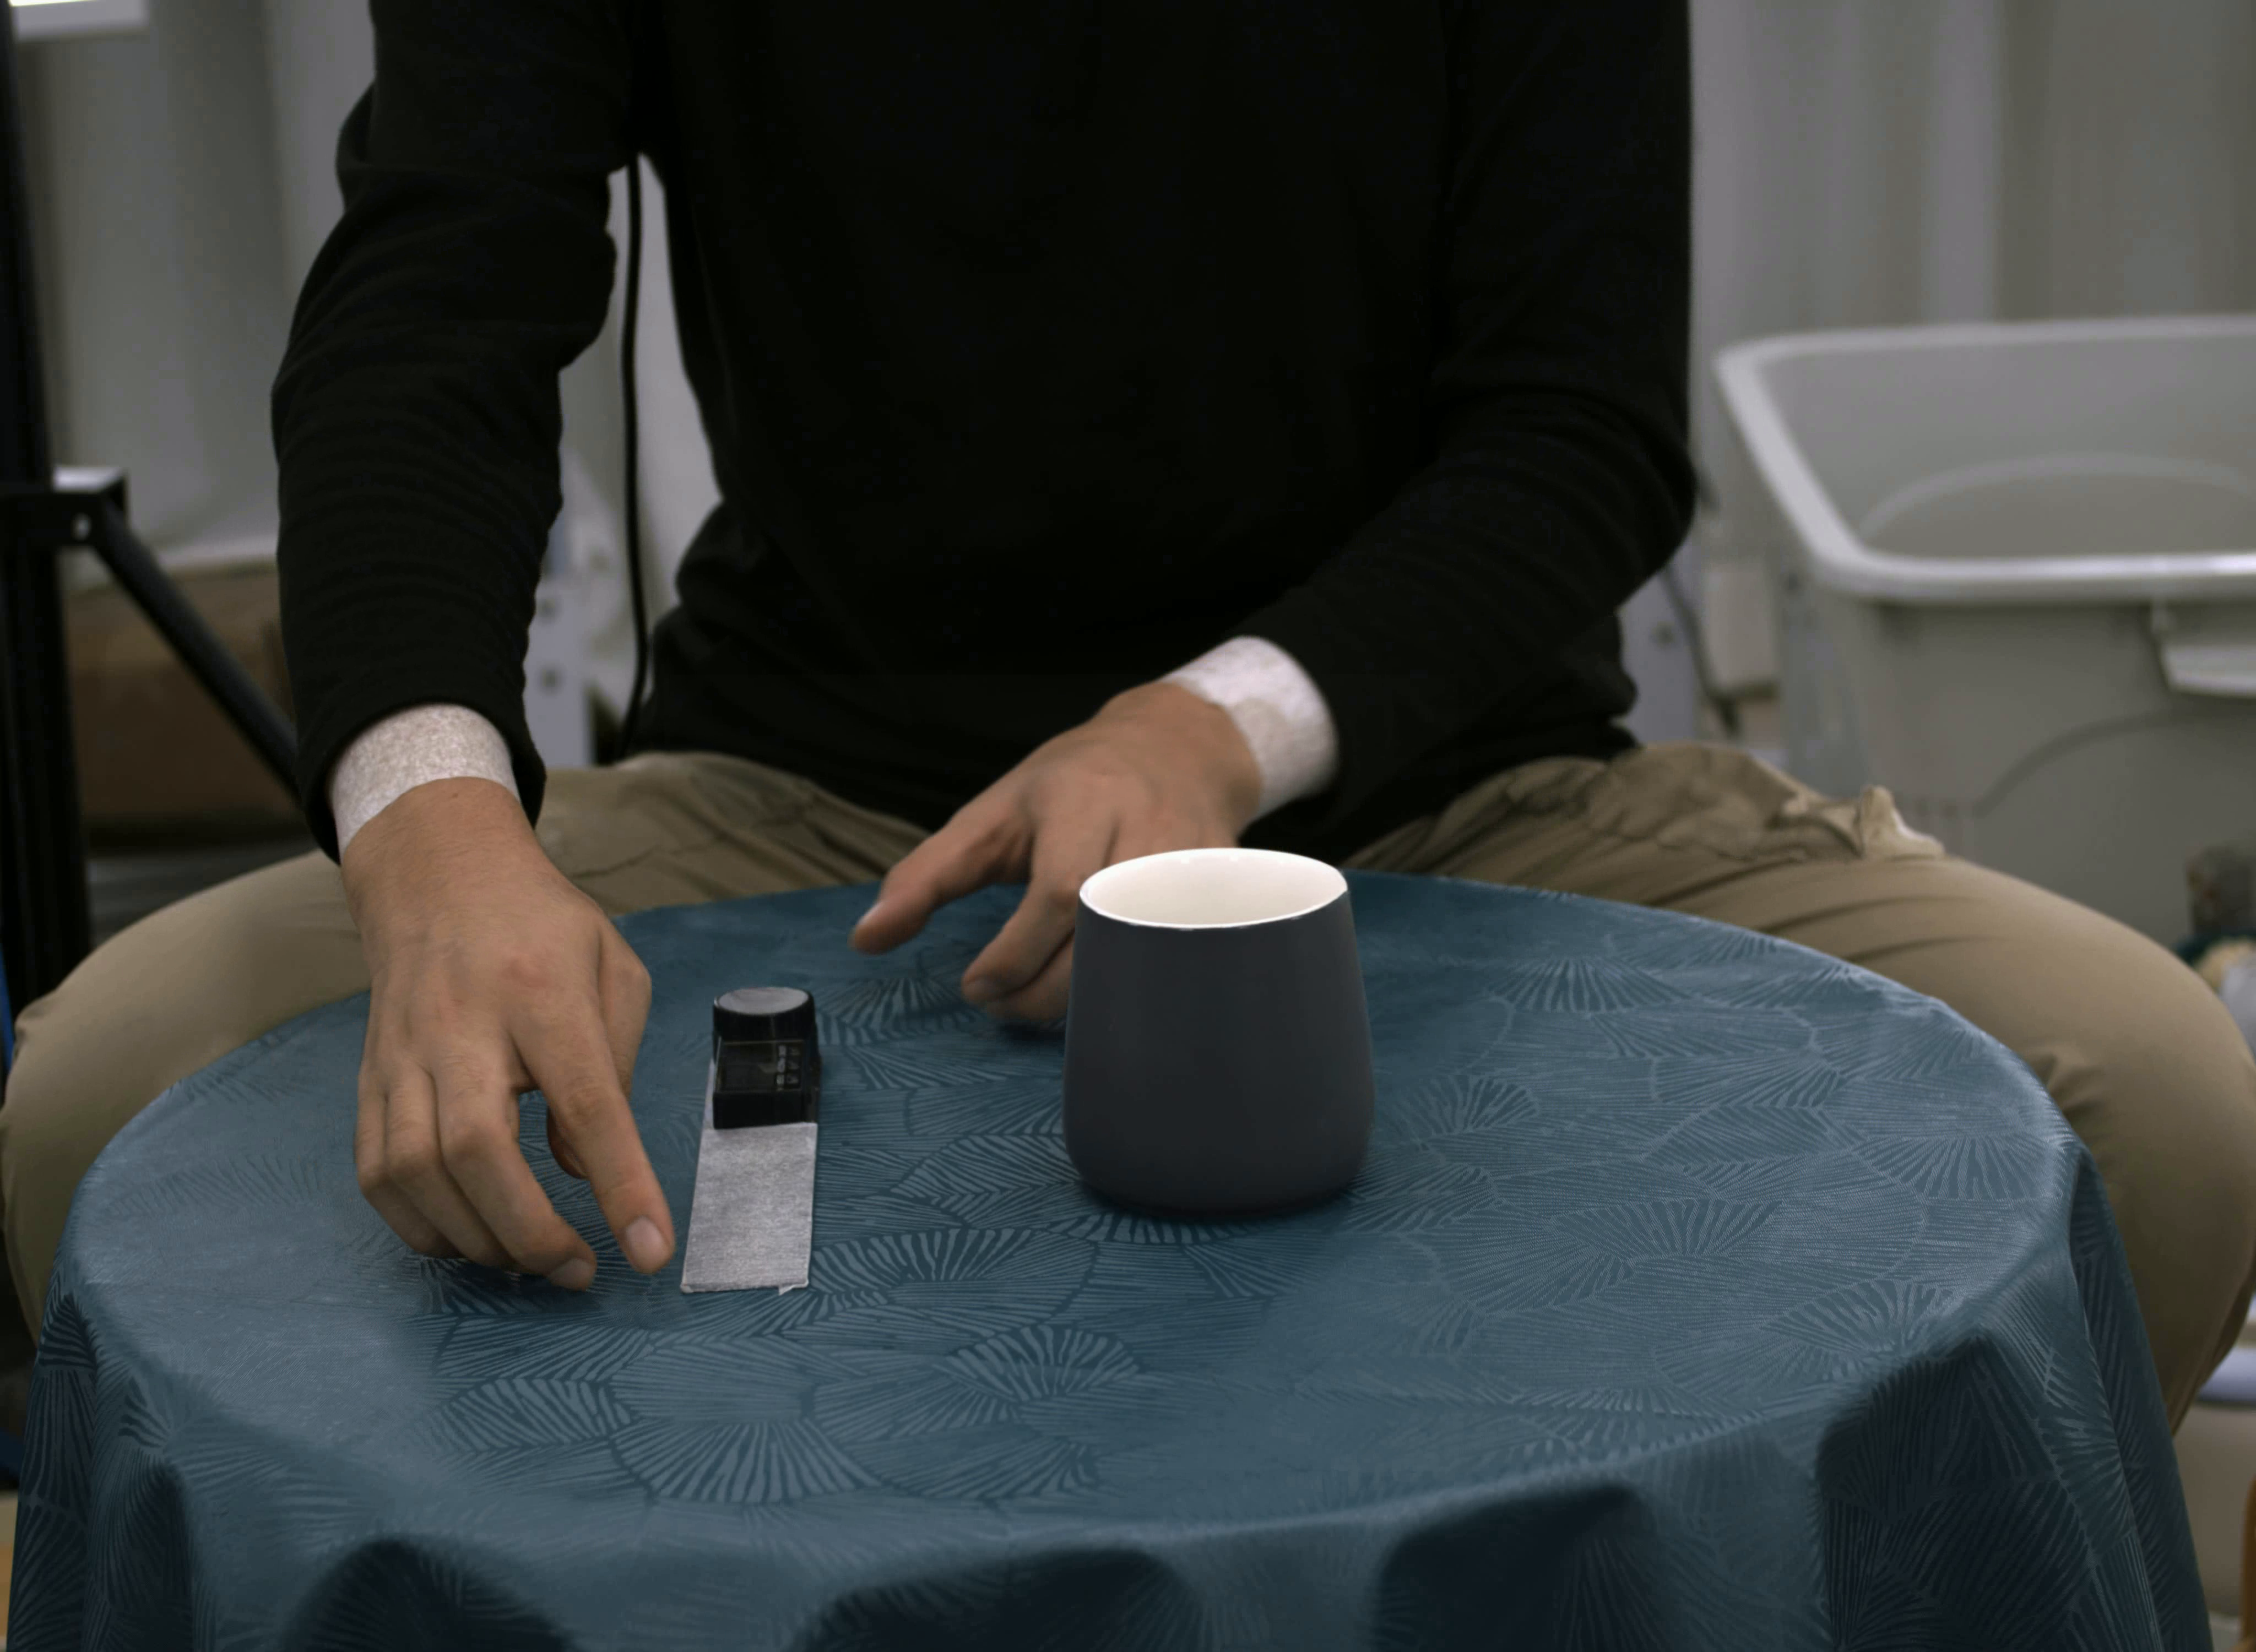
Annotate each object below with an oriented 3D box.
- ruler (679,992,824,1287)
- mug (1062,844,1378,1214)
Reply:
[{"bbox_3d":[-0.112,0.091,1.594,0.038,0.024,0.219,-8,15,1],"label":"ruler"},{"bbox_3d":[0.028,0.055,1.568,0.093,0.090,0.123,0,17,5],"label":"mug"}]
